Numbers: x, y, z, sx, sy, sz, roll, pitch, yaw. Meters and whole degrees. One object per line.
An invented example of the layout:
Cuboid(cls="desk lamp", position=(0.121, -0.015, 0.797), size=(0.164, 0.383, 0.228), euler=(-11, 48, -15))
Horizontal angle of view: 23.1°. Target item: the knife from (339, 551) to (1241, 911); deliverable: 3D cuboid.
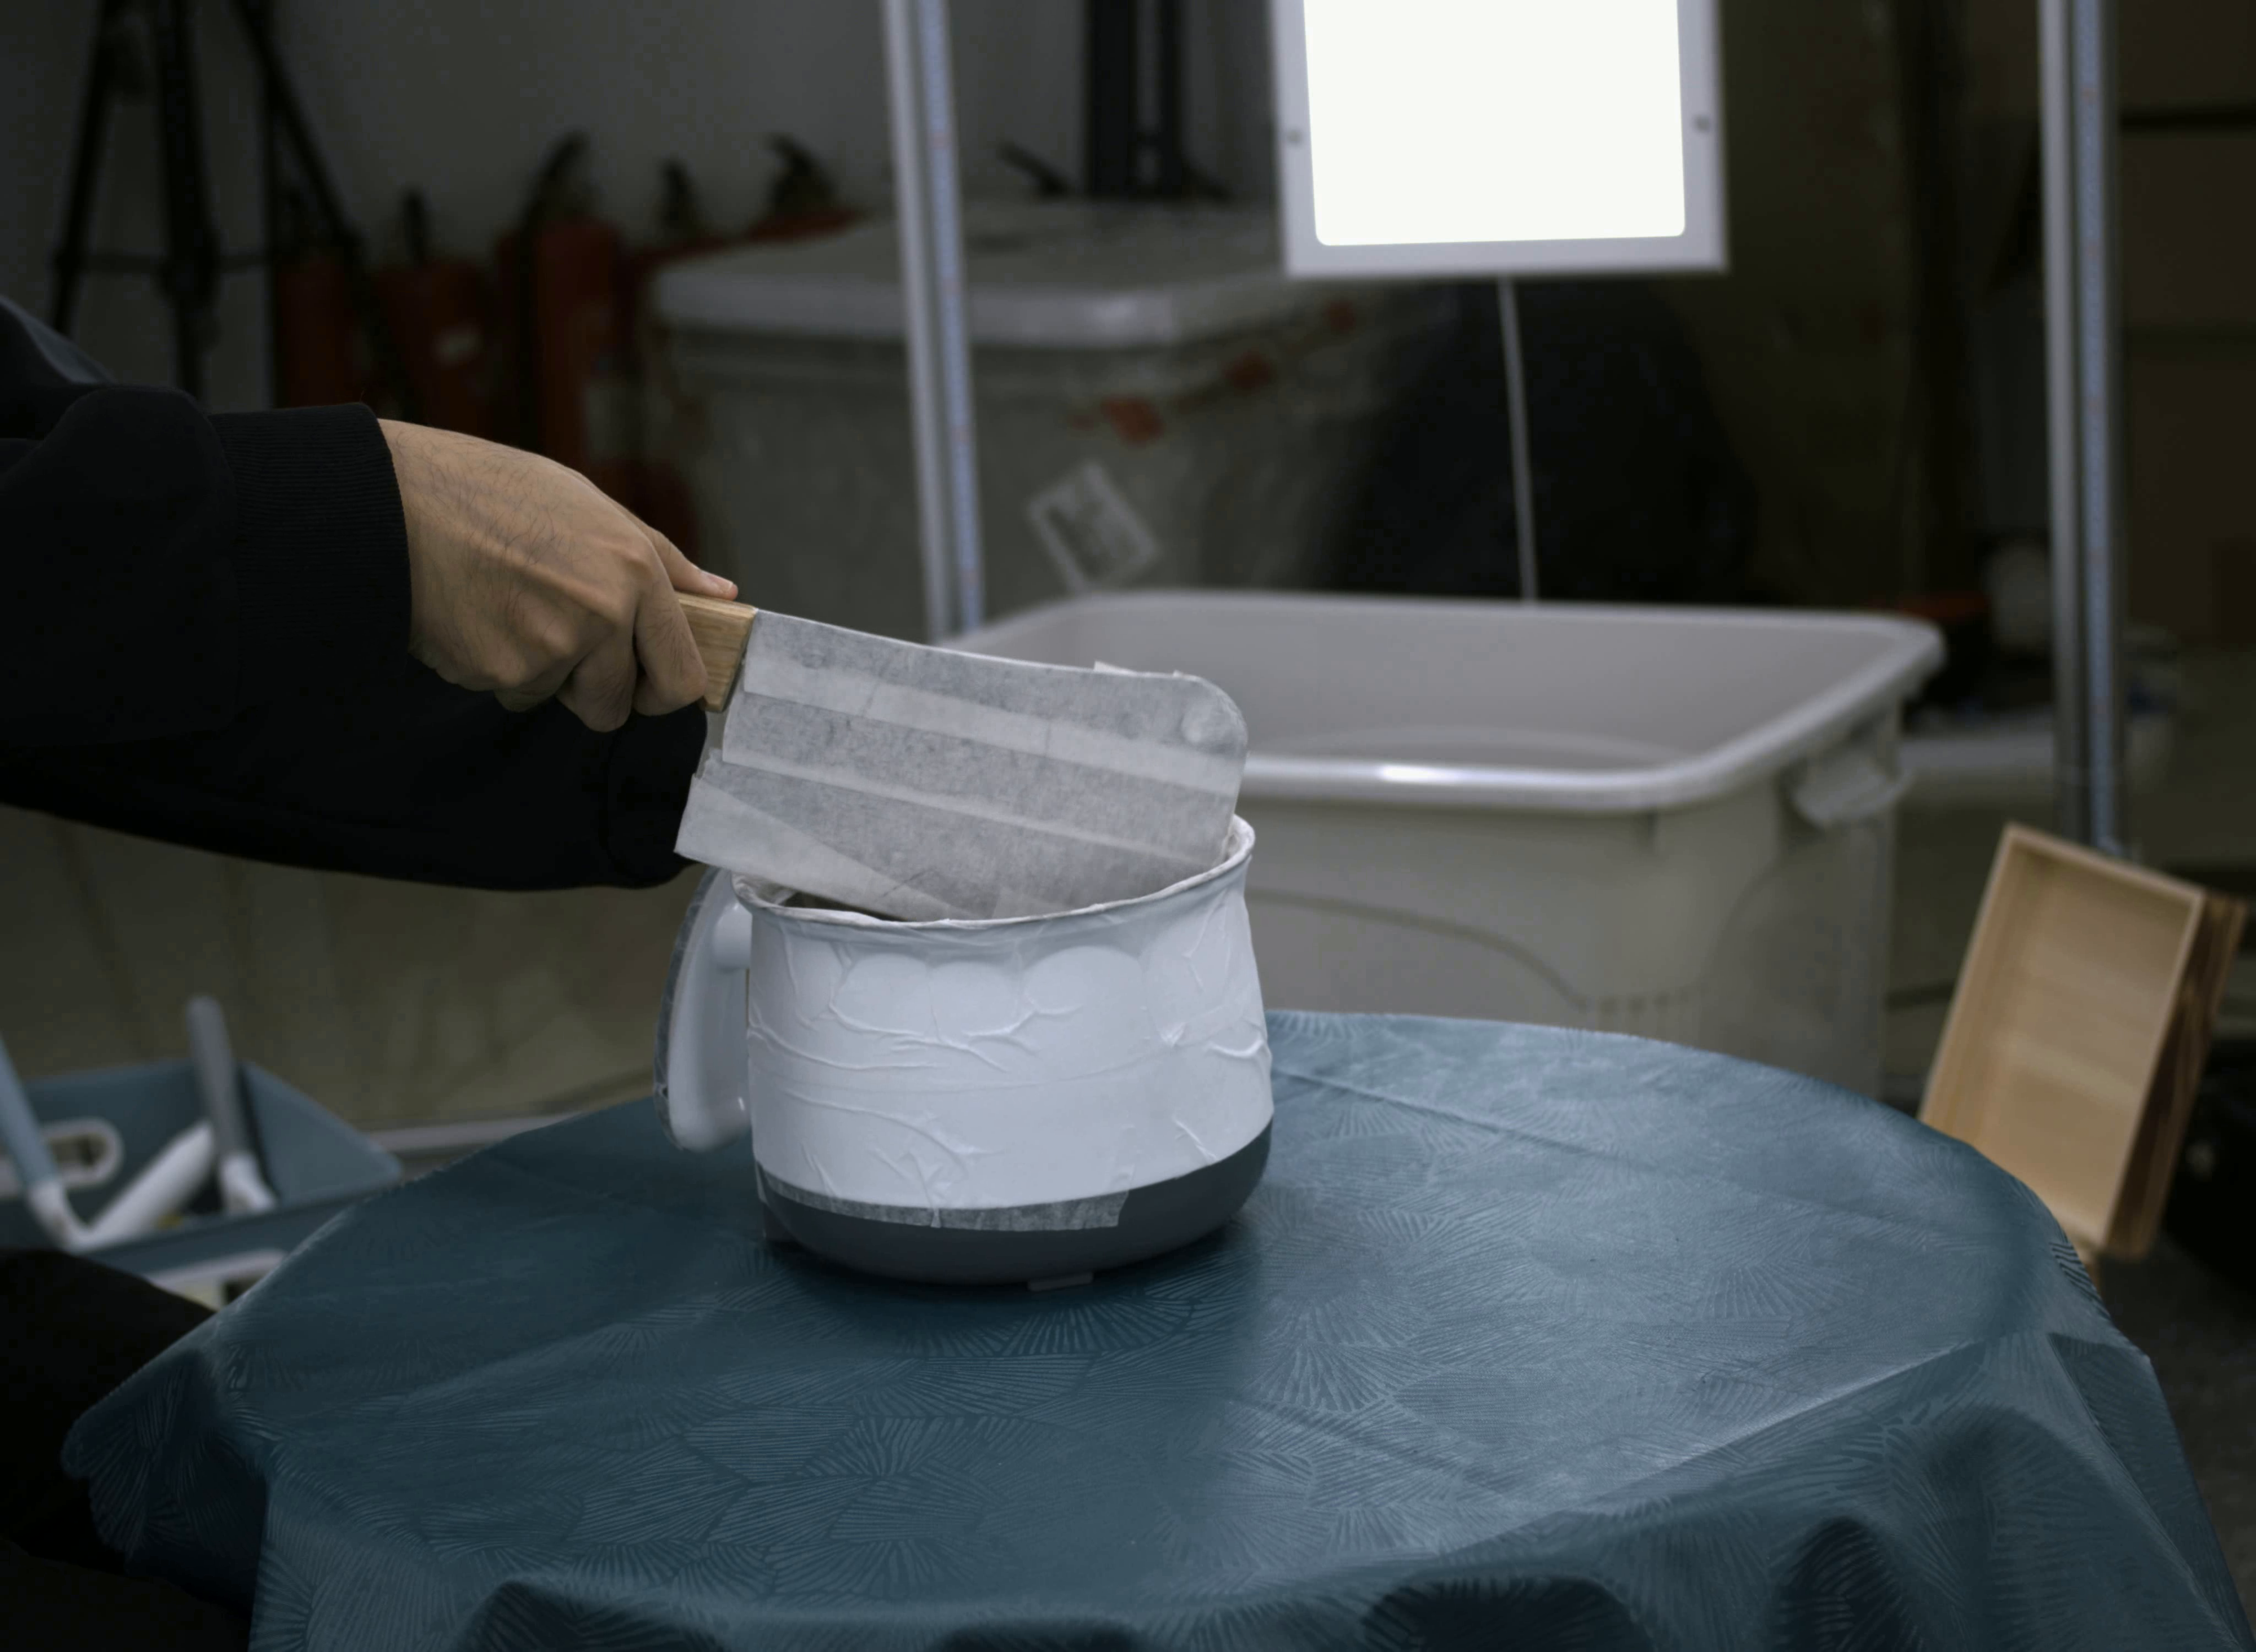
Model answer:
Cuboid(cls="knife", position=(-0.107, -0.036, 1.815), size=(0.312, 0.114, 0.022), euler=(16, 7, -11))

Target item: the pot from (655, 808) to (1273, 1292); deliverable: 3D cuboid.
Cuboid(cls="pot", position=(-0.064, 0.069, 1.869), size=(0.238, 0.137, 0.174), euler=(5, 16, 33))
